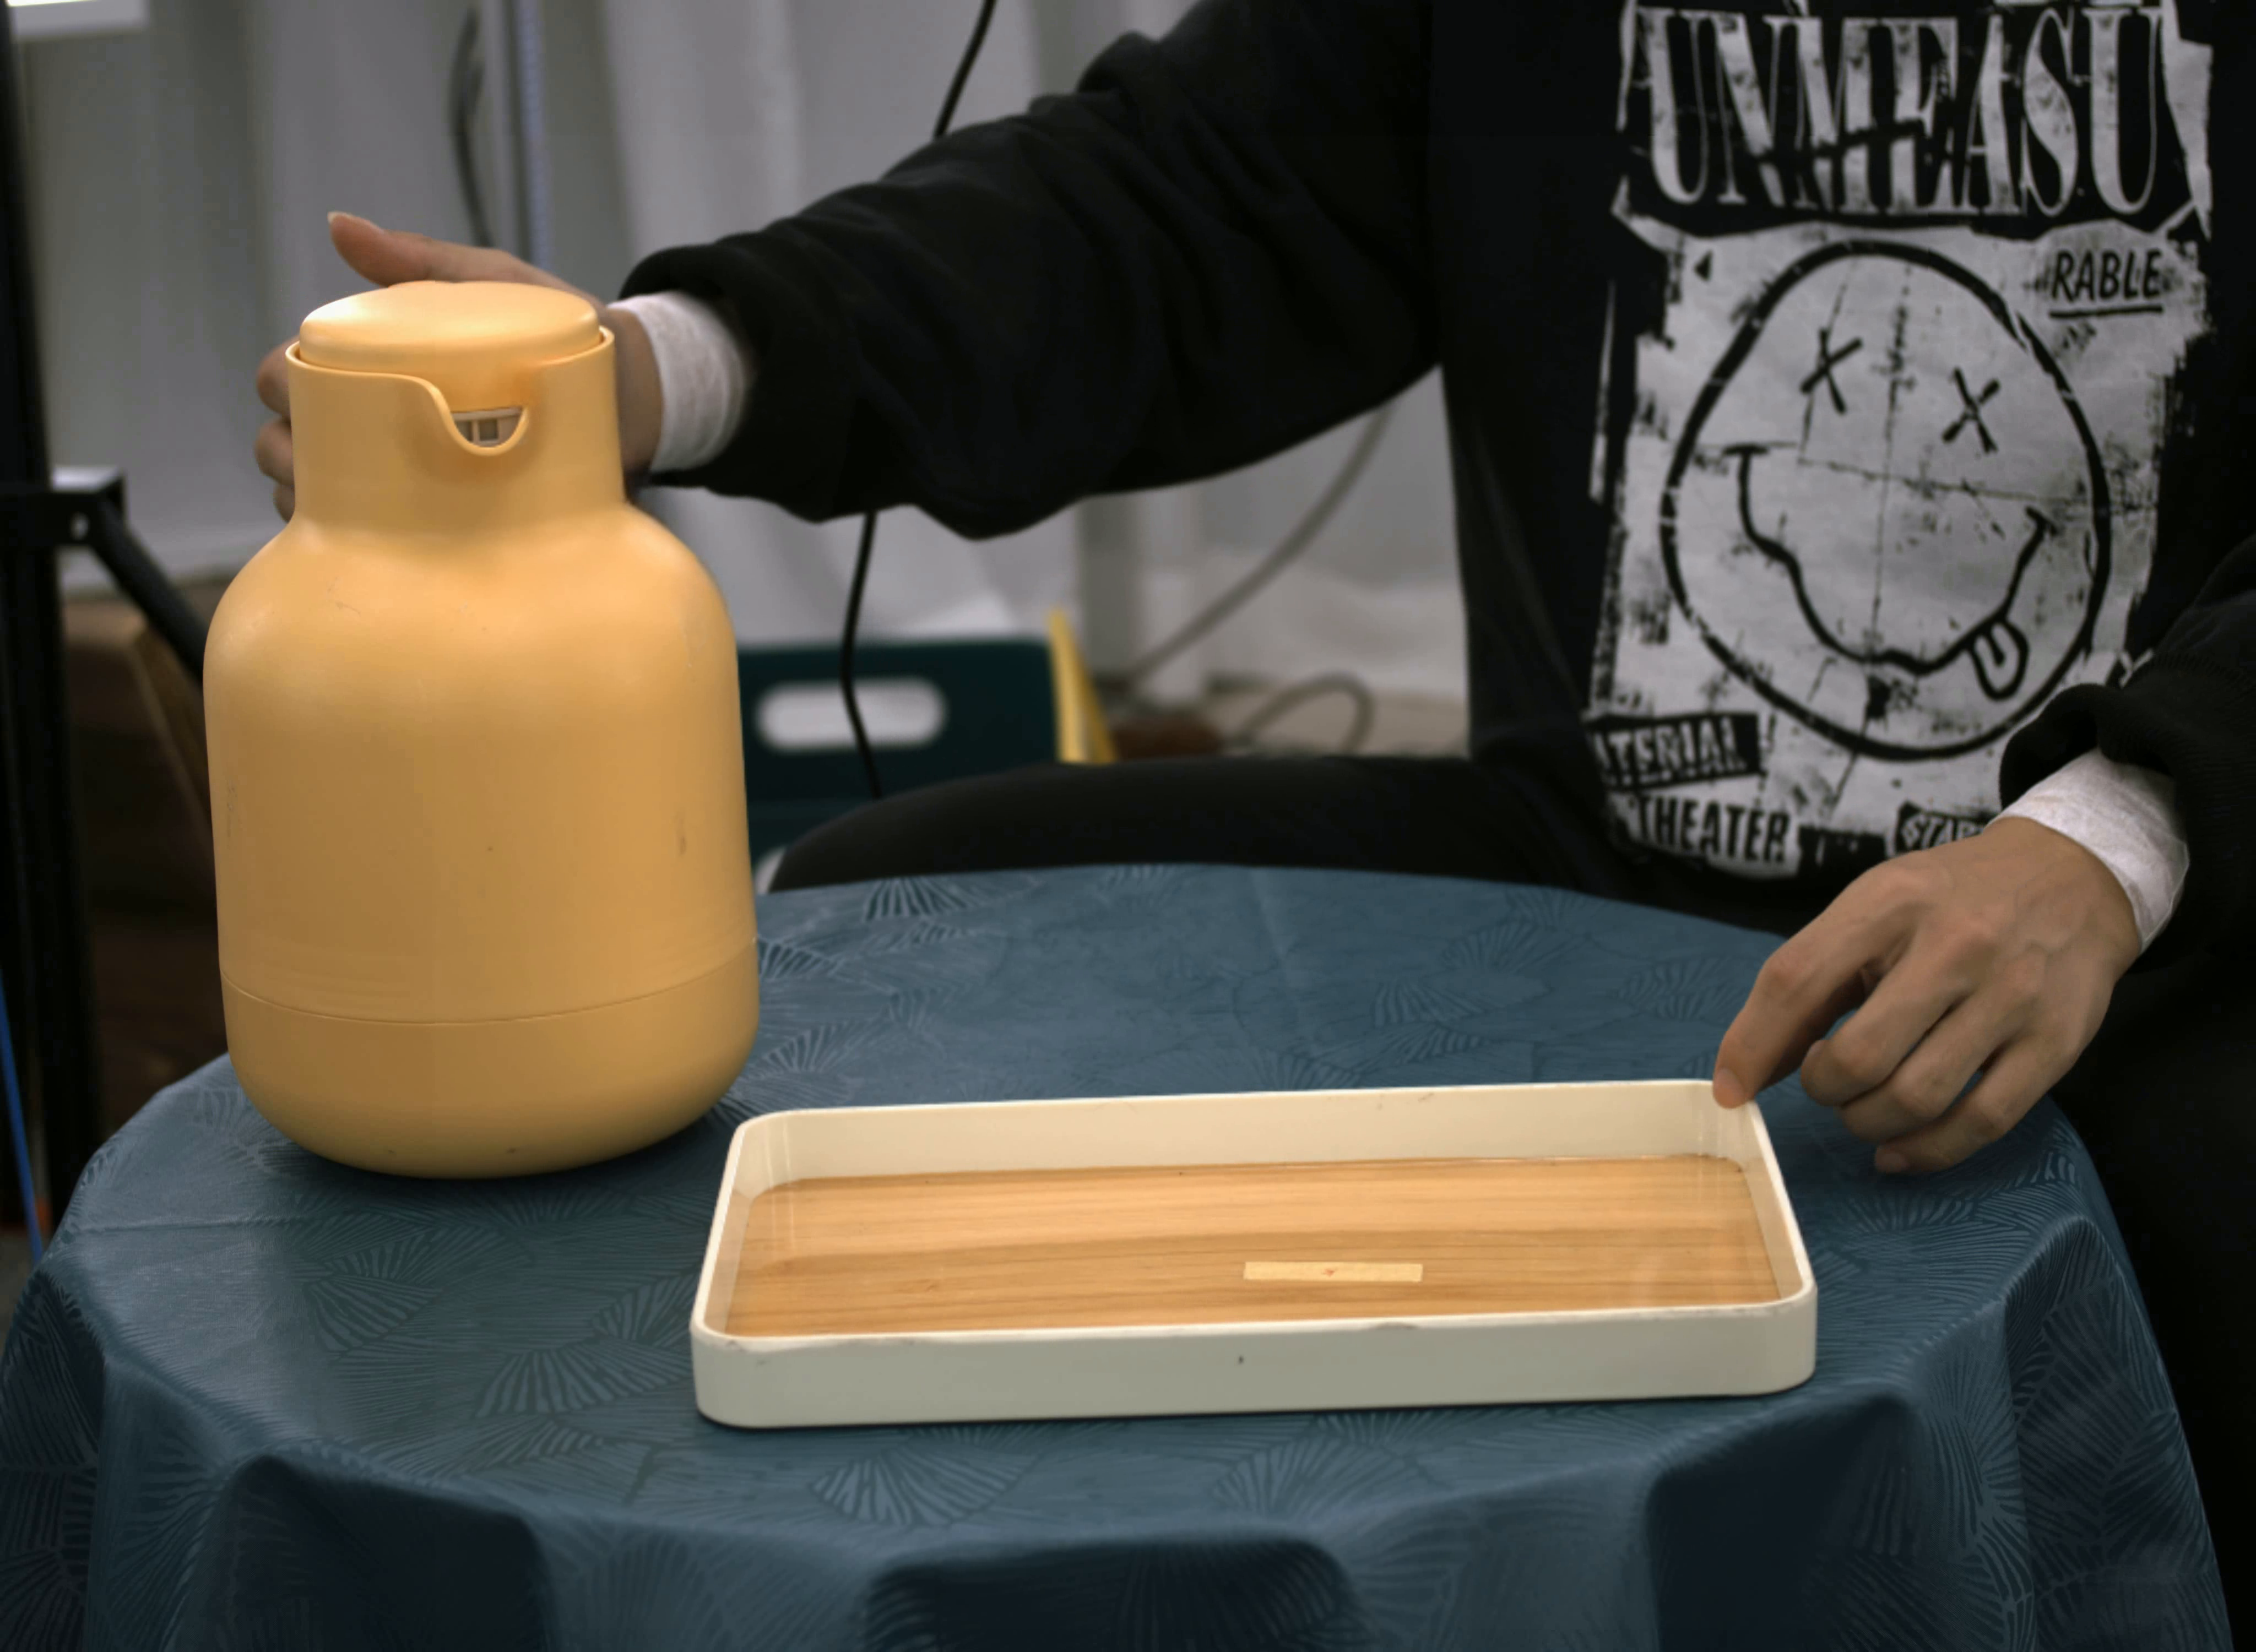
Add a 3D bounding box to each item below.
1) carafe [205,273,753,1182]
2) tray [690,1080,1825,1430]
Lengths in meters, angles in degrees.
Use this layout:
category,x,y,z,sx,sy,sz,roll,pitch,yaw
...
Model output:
category,x,y,z,sx,sy,sz,roll,pitch,yaw
carafe,-0.200,-0.038,1.631,0.161,0.260,0.205,-3,16,-11
tray,0.034,0.117,1.468,0.299,0.027,0.192,-2,16,3
